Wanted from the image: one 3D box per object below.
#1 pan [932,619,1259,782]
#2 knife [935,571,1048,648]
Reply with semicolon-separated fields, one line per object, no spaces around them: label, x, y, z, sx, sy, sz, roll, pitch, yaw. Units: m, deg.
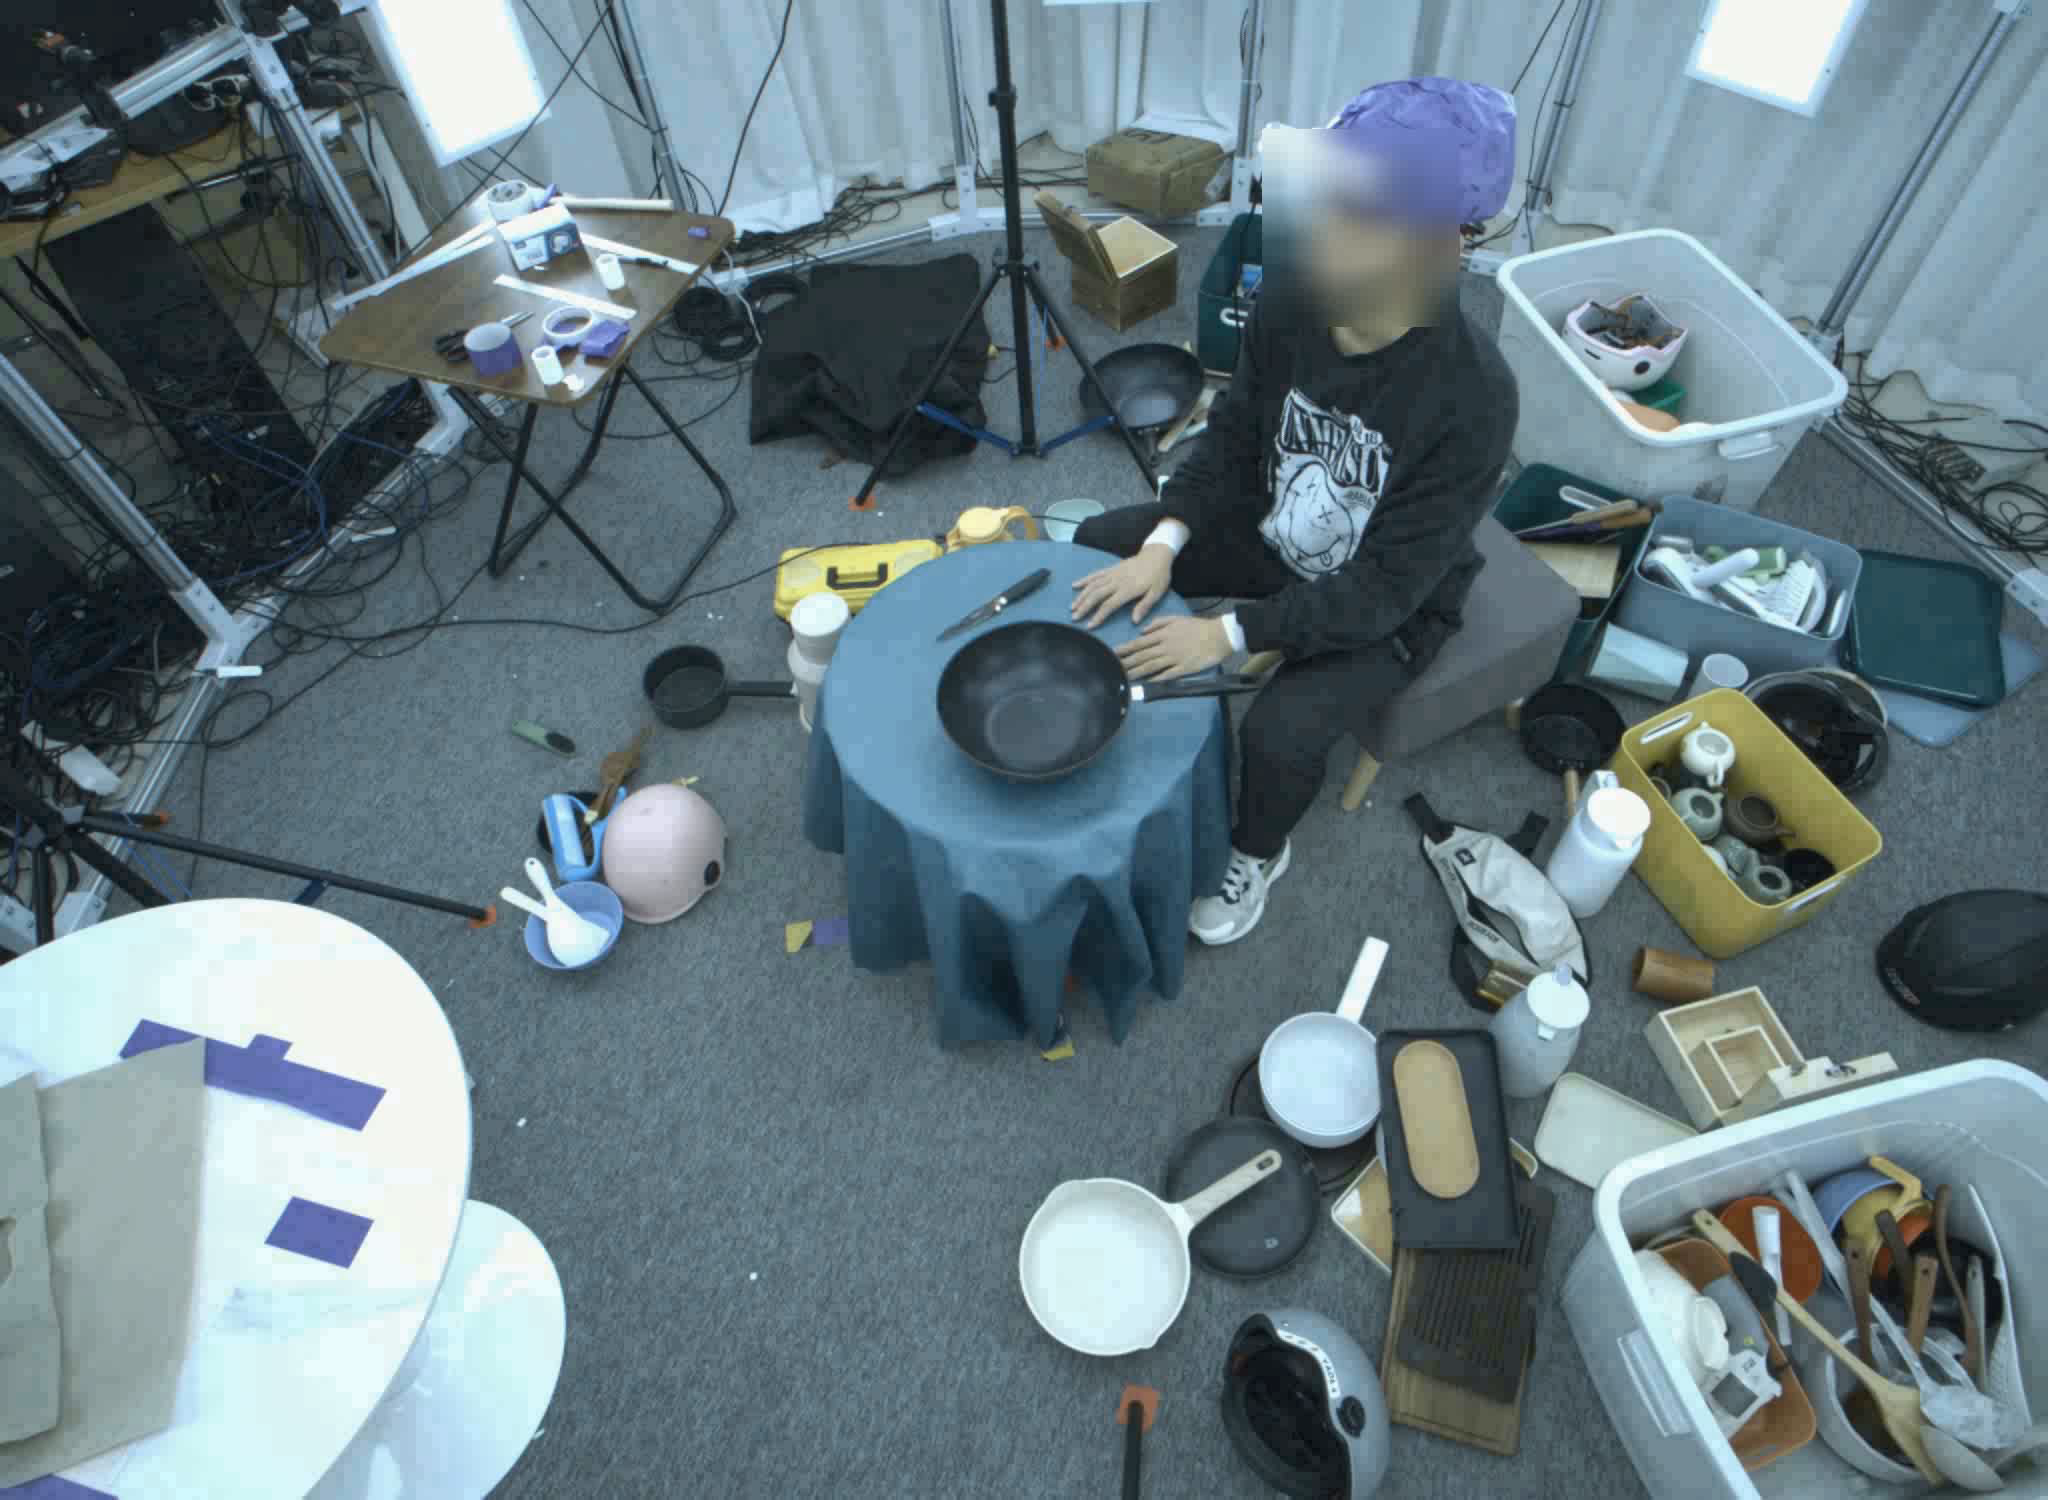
pan;0.102;-0.062;1.775;0.464;0.088;0.285;-2;54;-1
knife;-0.052;-0.223;1.939;0.227;0.017;0.026;-33;76;-19
